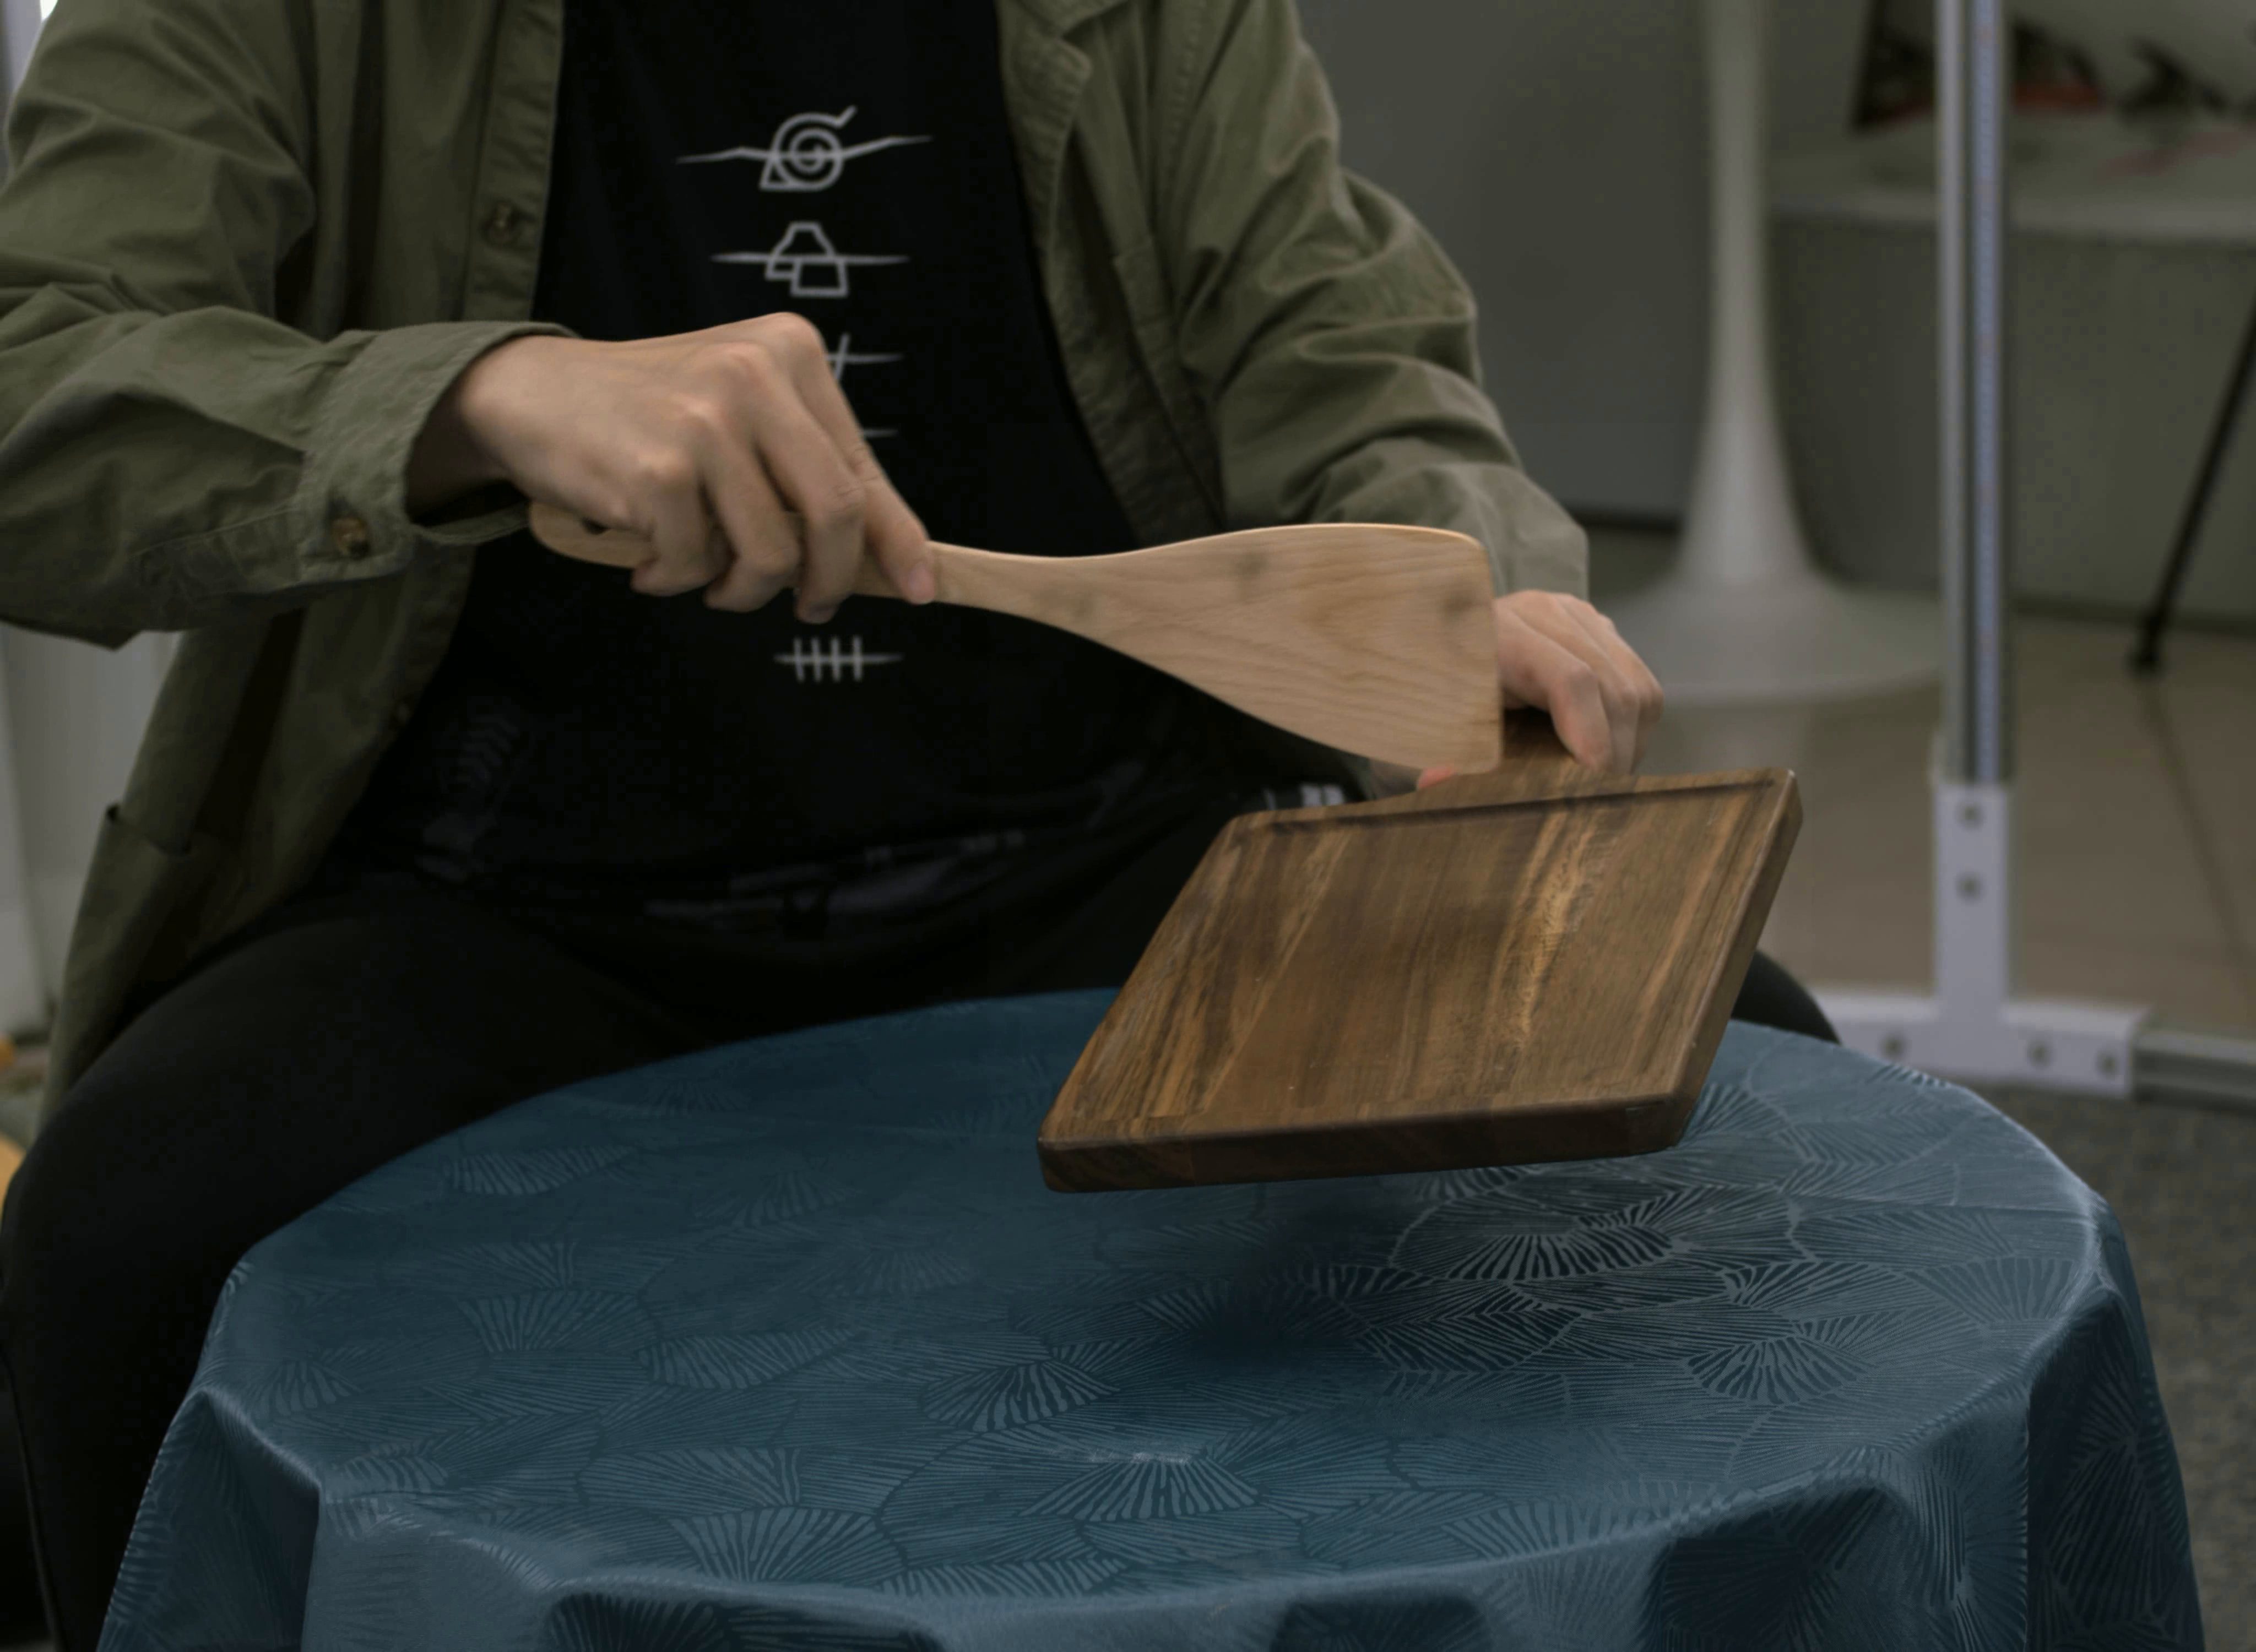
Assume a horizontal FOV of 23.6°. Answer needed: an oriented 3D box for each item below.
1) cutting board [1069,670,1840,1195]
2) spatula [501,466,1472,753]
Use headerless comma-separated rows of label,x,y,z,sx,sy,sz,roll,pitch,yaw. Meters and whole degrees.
cutting board,0.119,0.024,1.697,0.201,0.023,0.350,-6,21,20
spatula,-0.046,-0.082,1.725,0.325,0.081,0.016,8,17,11
